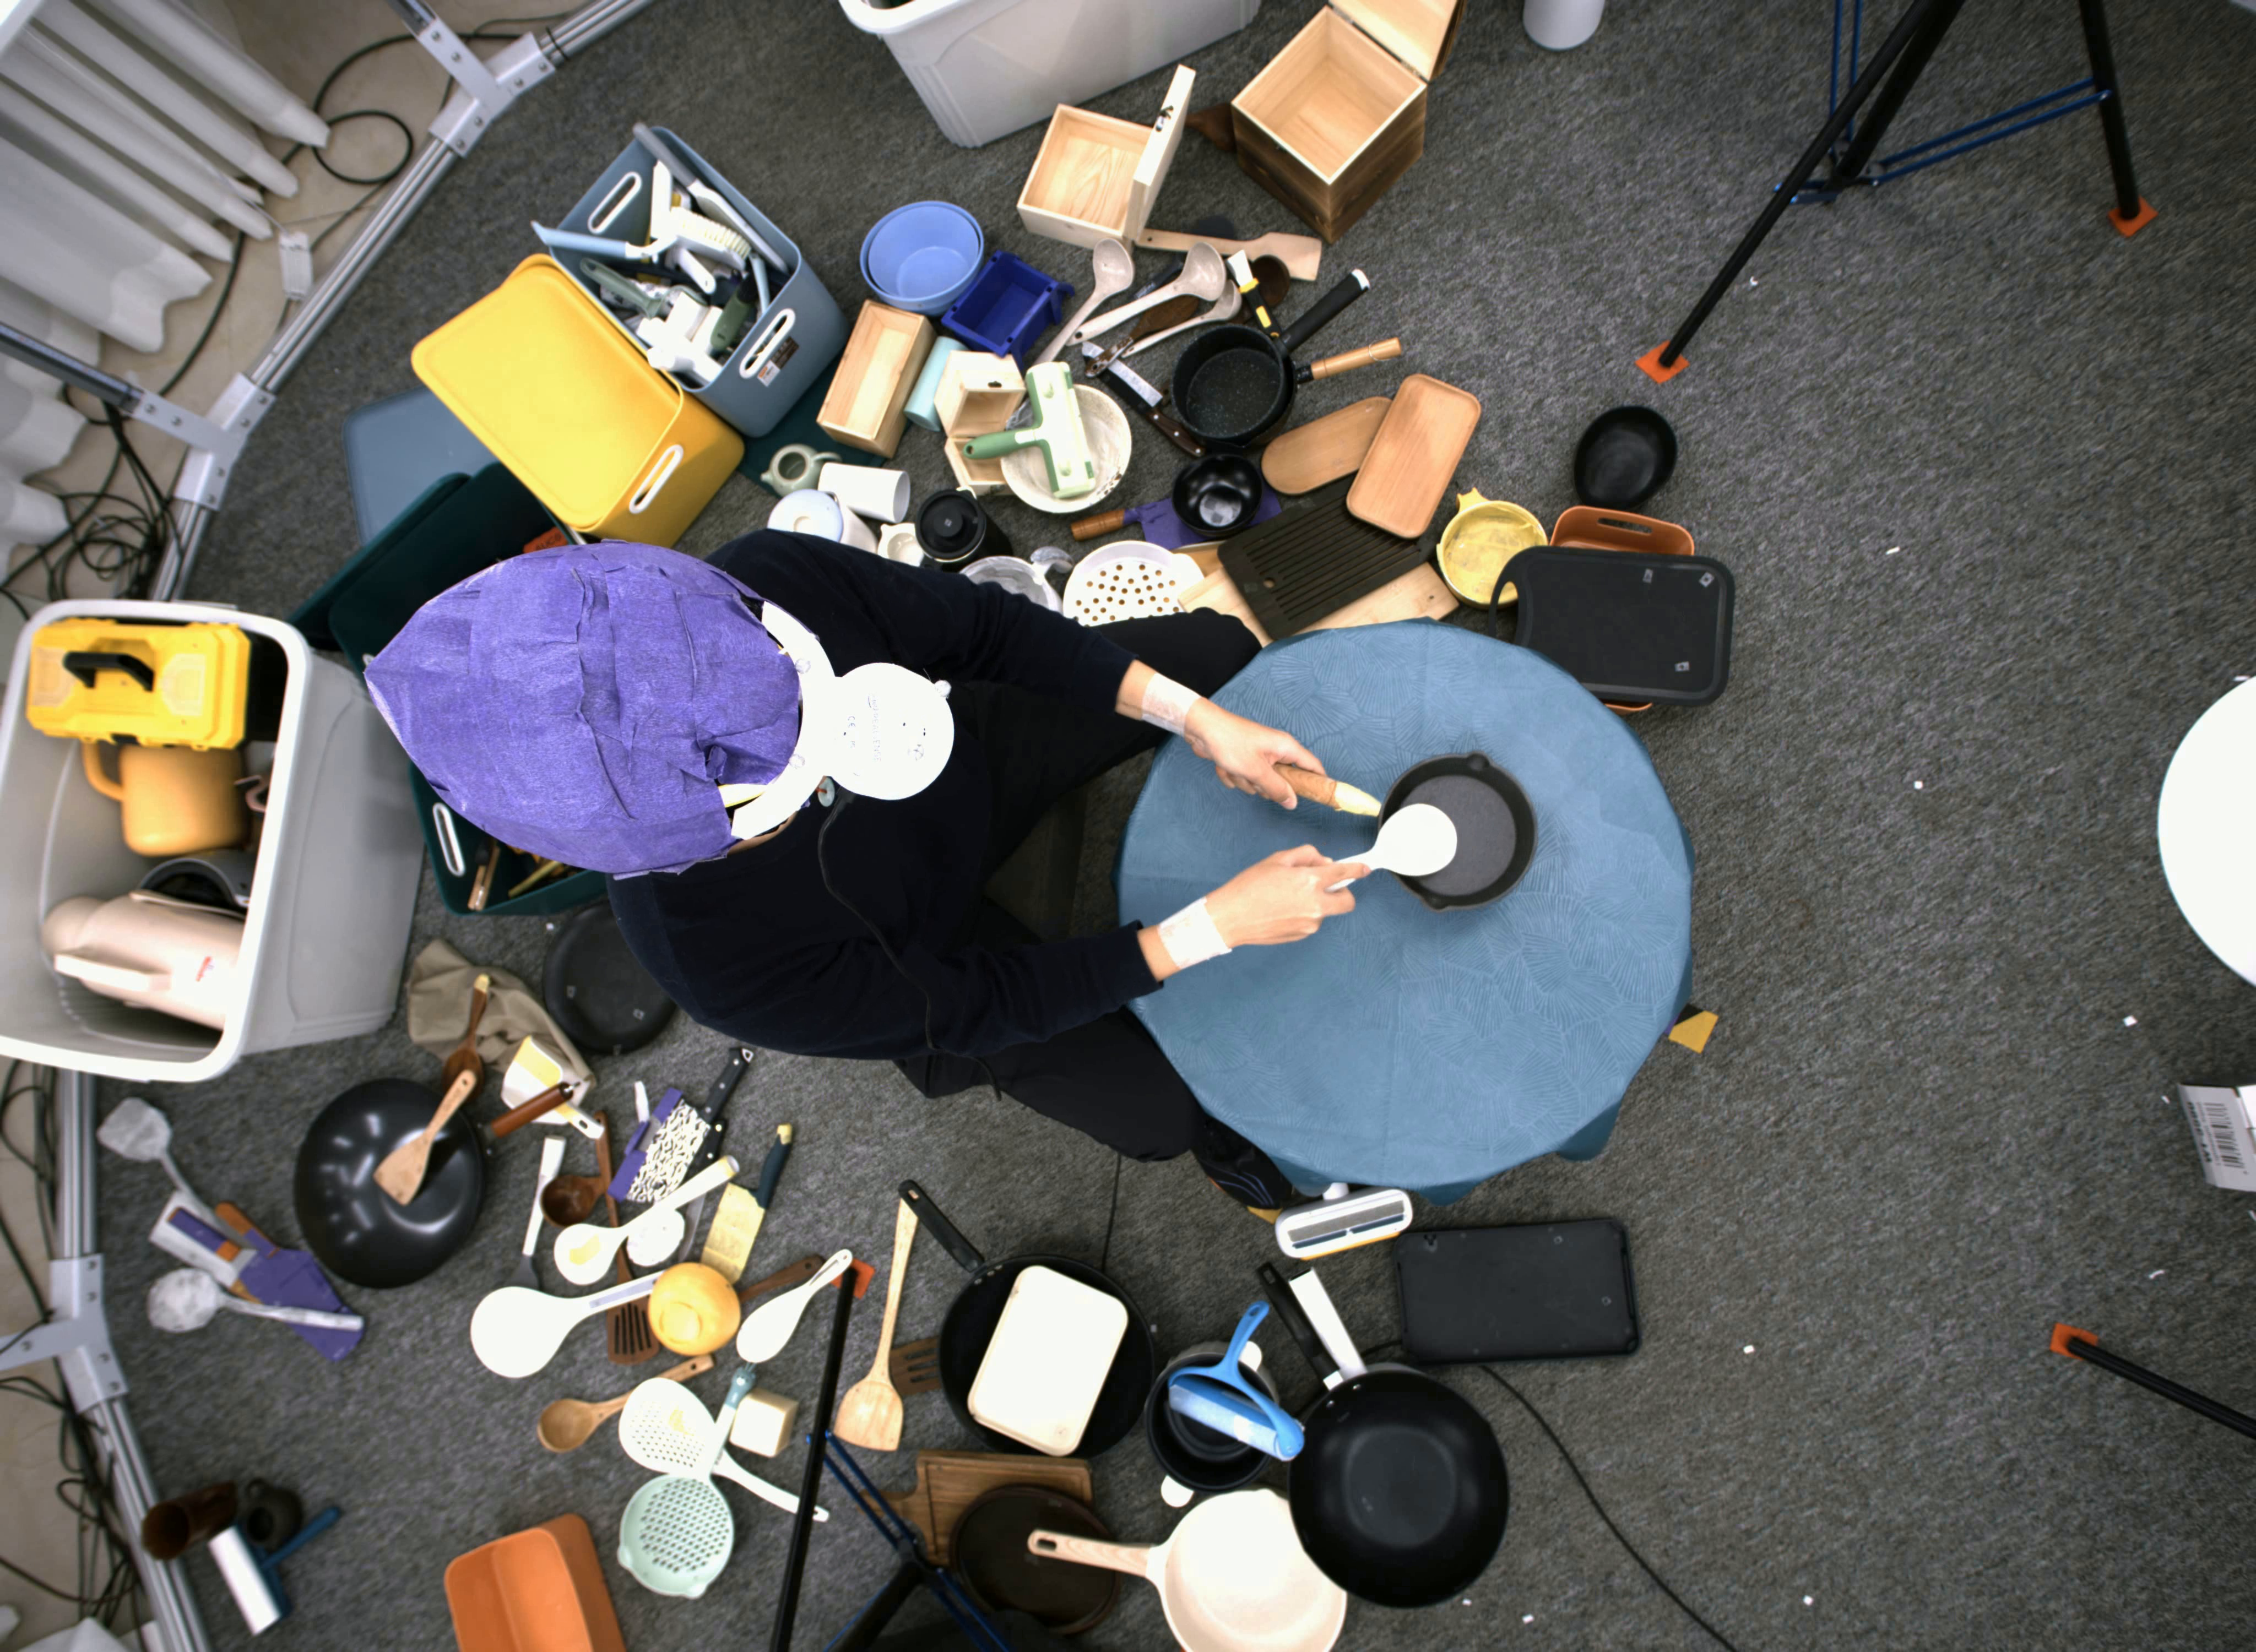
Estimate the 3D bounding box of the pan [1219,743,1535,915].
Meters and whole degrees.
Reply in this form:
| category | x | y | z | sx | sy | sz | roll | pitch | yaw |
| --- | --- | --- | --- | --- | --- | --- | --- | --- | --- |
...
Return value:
| category | x | y | z | sx | sy | sz | roll | pitch | yaw |
| --- | --- | --- | --- | --- | --- | --- | --- | --- | --- |
| pan | 0.246 | -0.022 | 1.382 | 0.324 | 0.050 | 0.168 | 20 | 88 | 7 |

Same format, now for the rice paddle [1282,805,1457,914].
| category | x | y | z | sx | sy | sz | roll | pitch | yaw |
| --- | --- | --- | --- | --- | --- | --- | --- | --- | --- |
| rice paddle | 0.243 | 0.032 | 1.352 | 0.203 | 0.030 | 0.068 | -22 | 85 | -21 |
